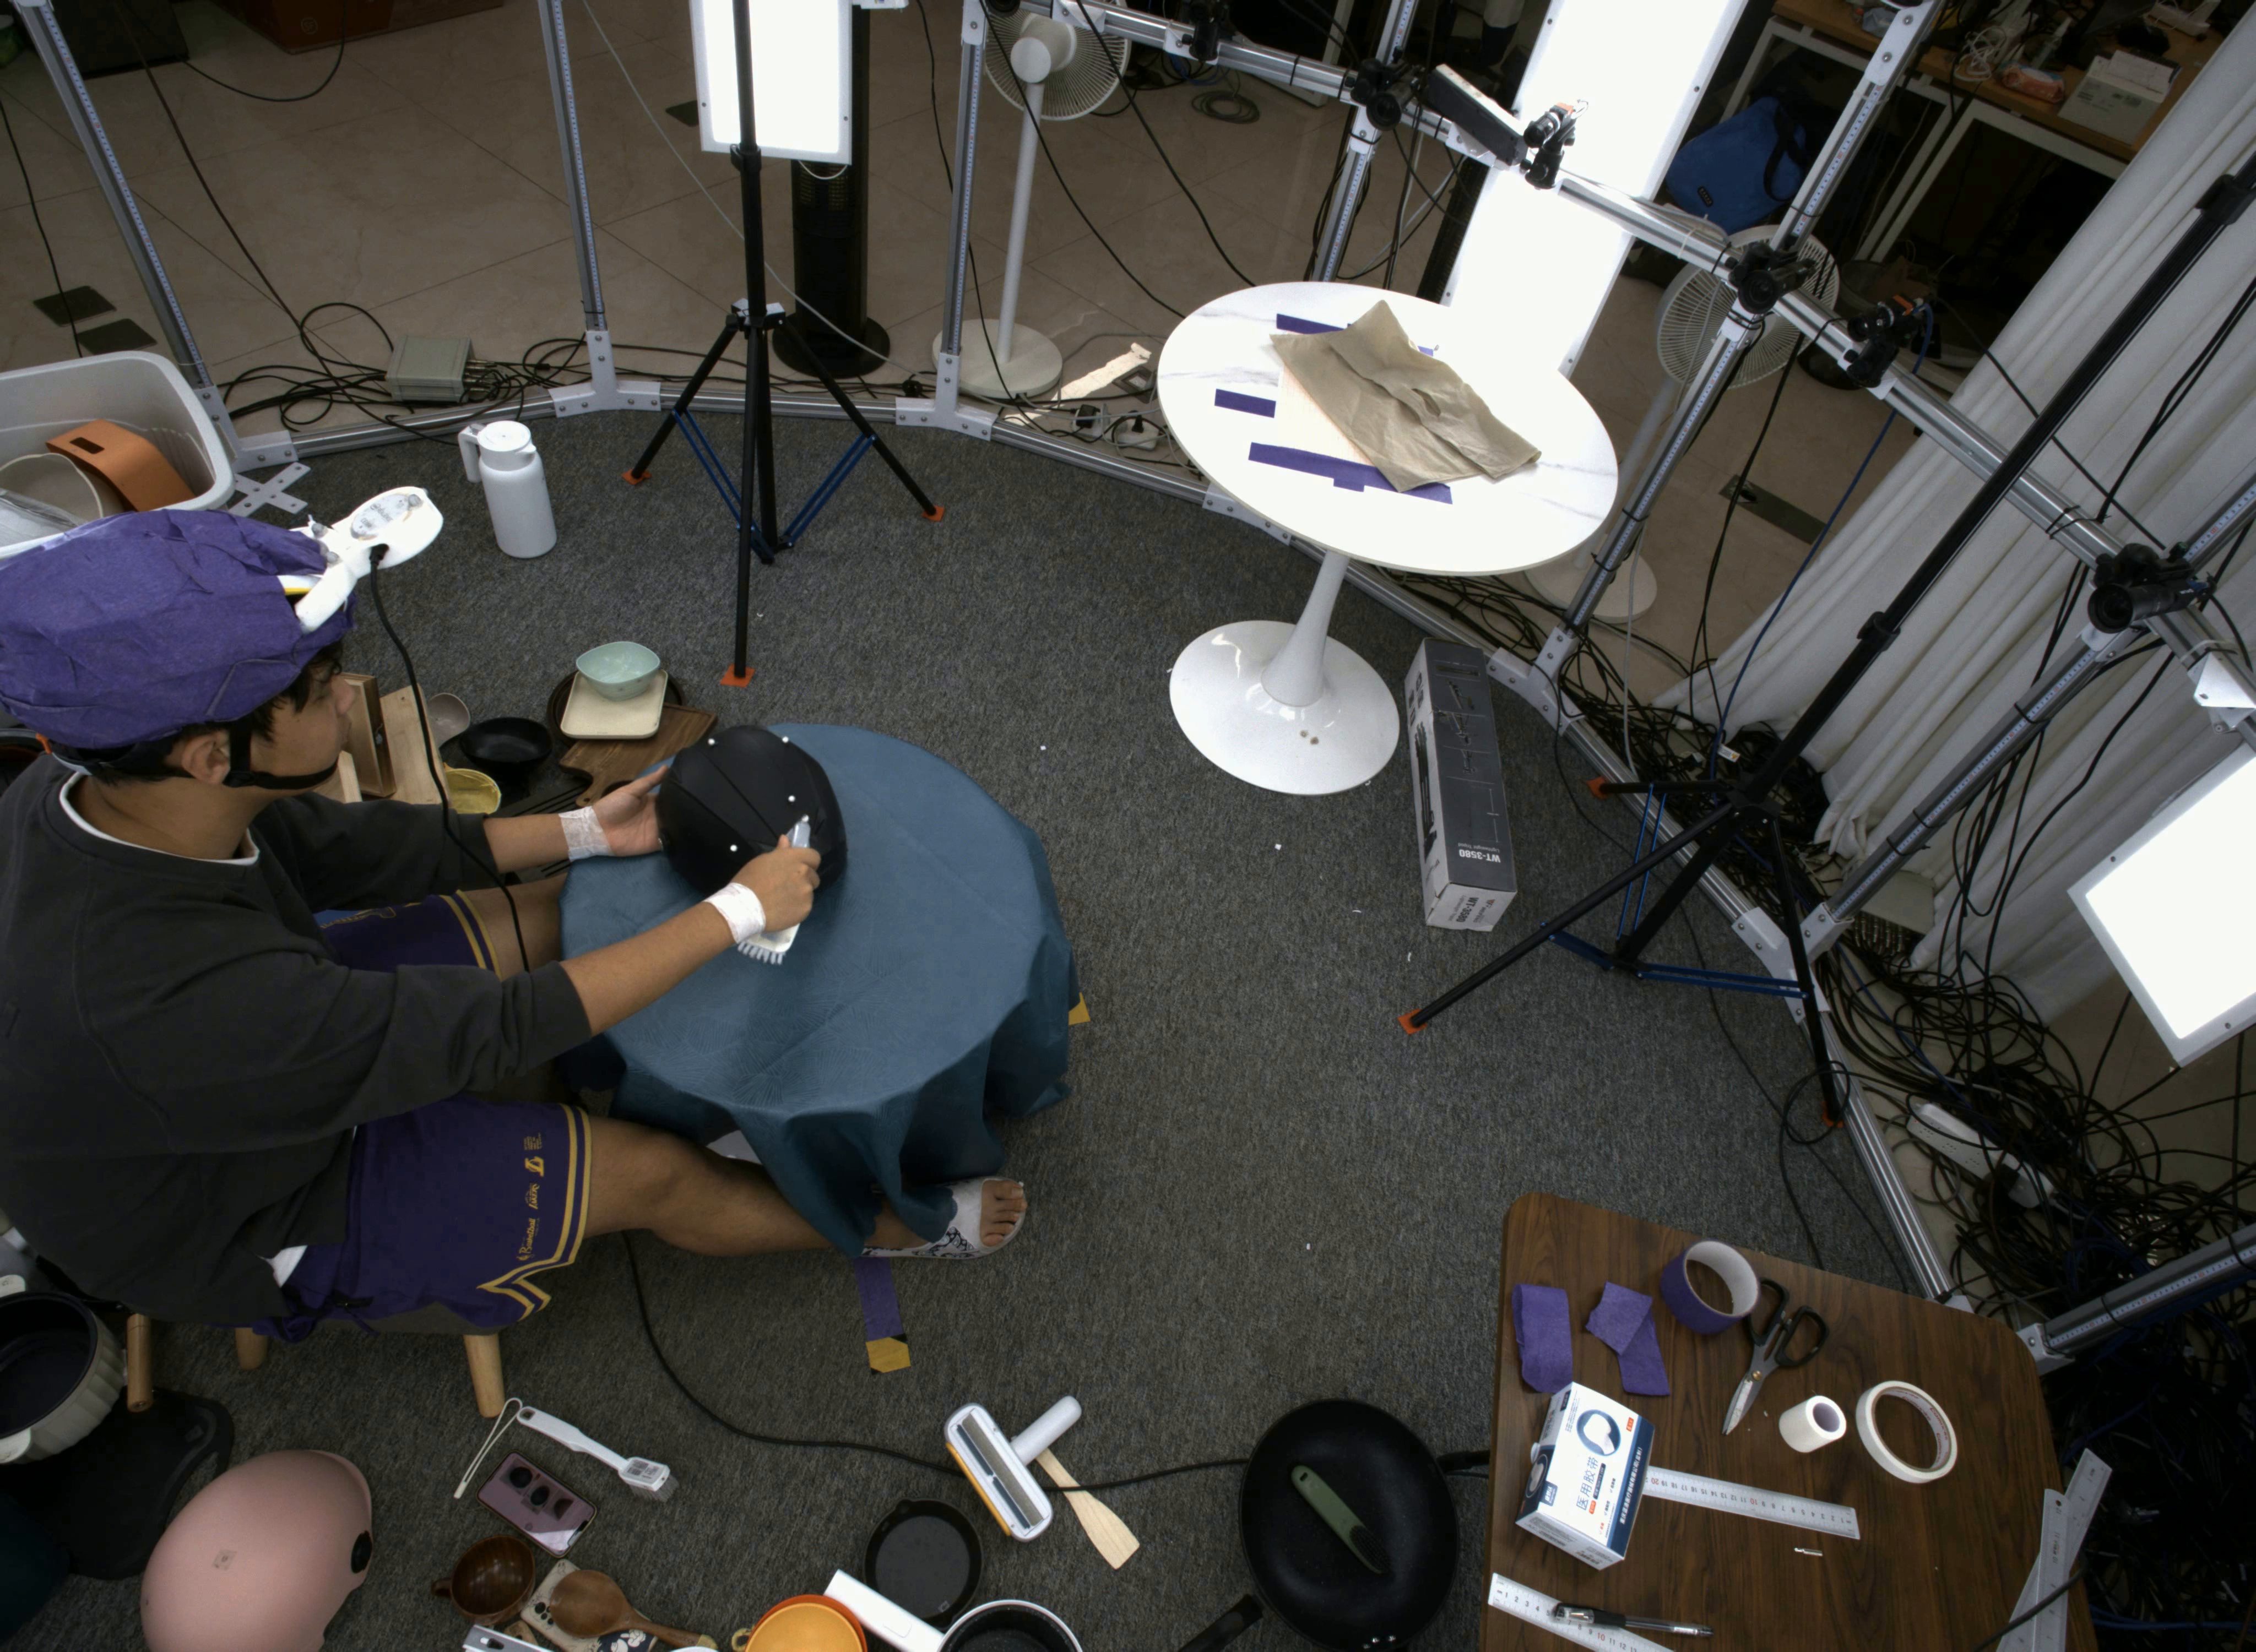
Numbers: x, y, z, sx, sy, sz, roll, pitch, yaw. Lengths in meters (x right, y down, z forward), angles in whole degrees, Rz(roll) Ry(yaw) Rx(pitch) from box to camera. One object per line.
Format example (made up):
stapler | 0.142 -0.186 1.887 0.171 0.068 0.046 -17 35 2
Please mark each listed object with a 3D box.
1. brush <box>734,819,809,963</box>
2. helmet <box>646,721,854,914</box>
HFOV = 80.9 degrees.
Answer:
brush | -0.395 0.058 1.481 0.062 0.094 0.173 22 56 -20
helmet | -0.474 -0.028 1.634 0.248 0.175 0.271 -28 69 -31
